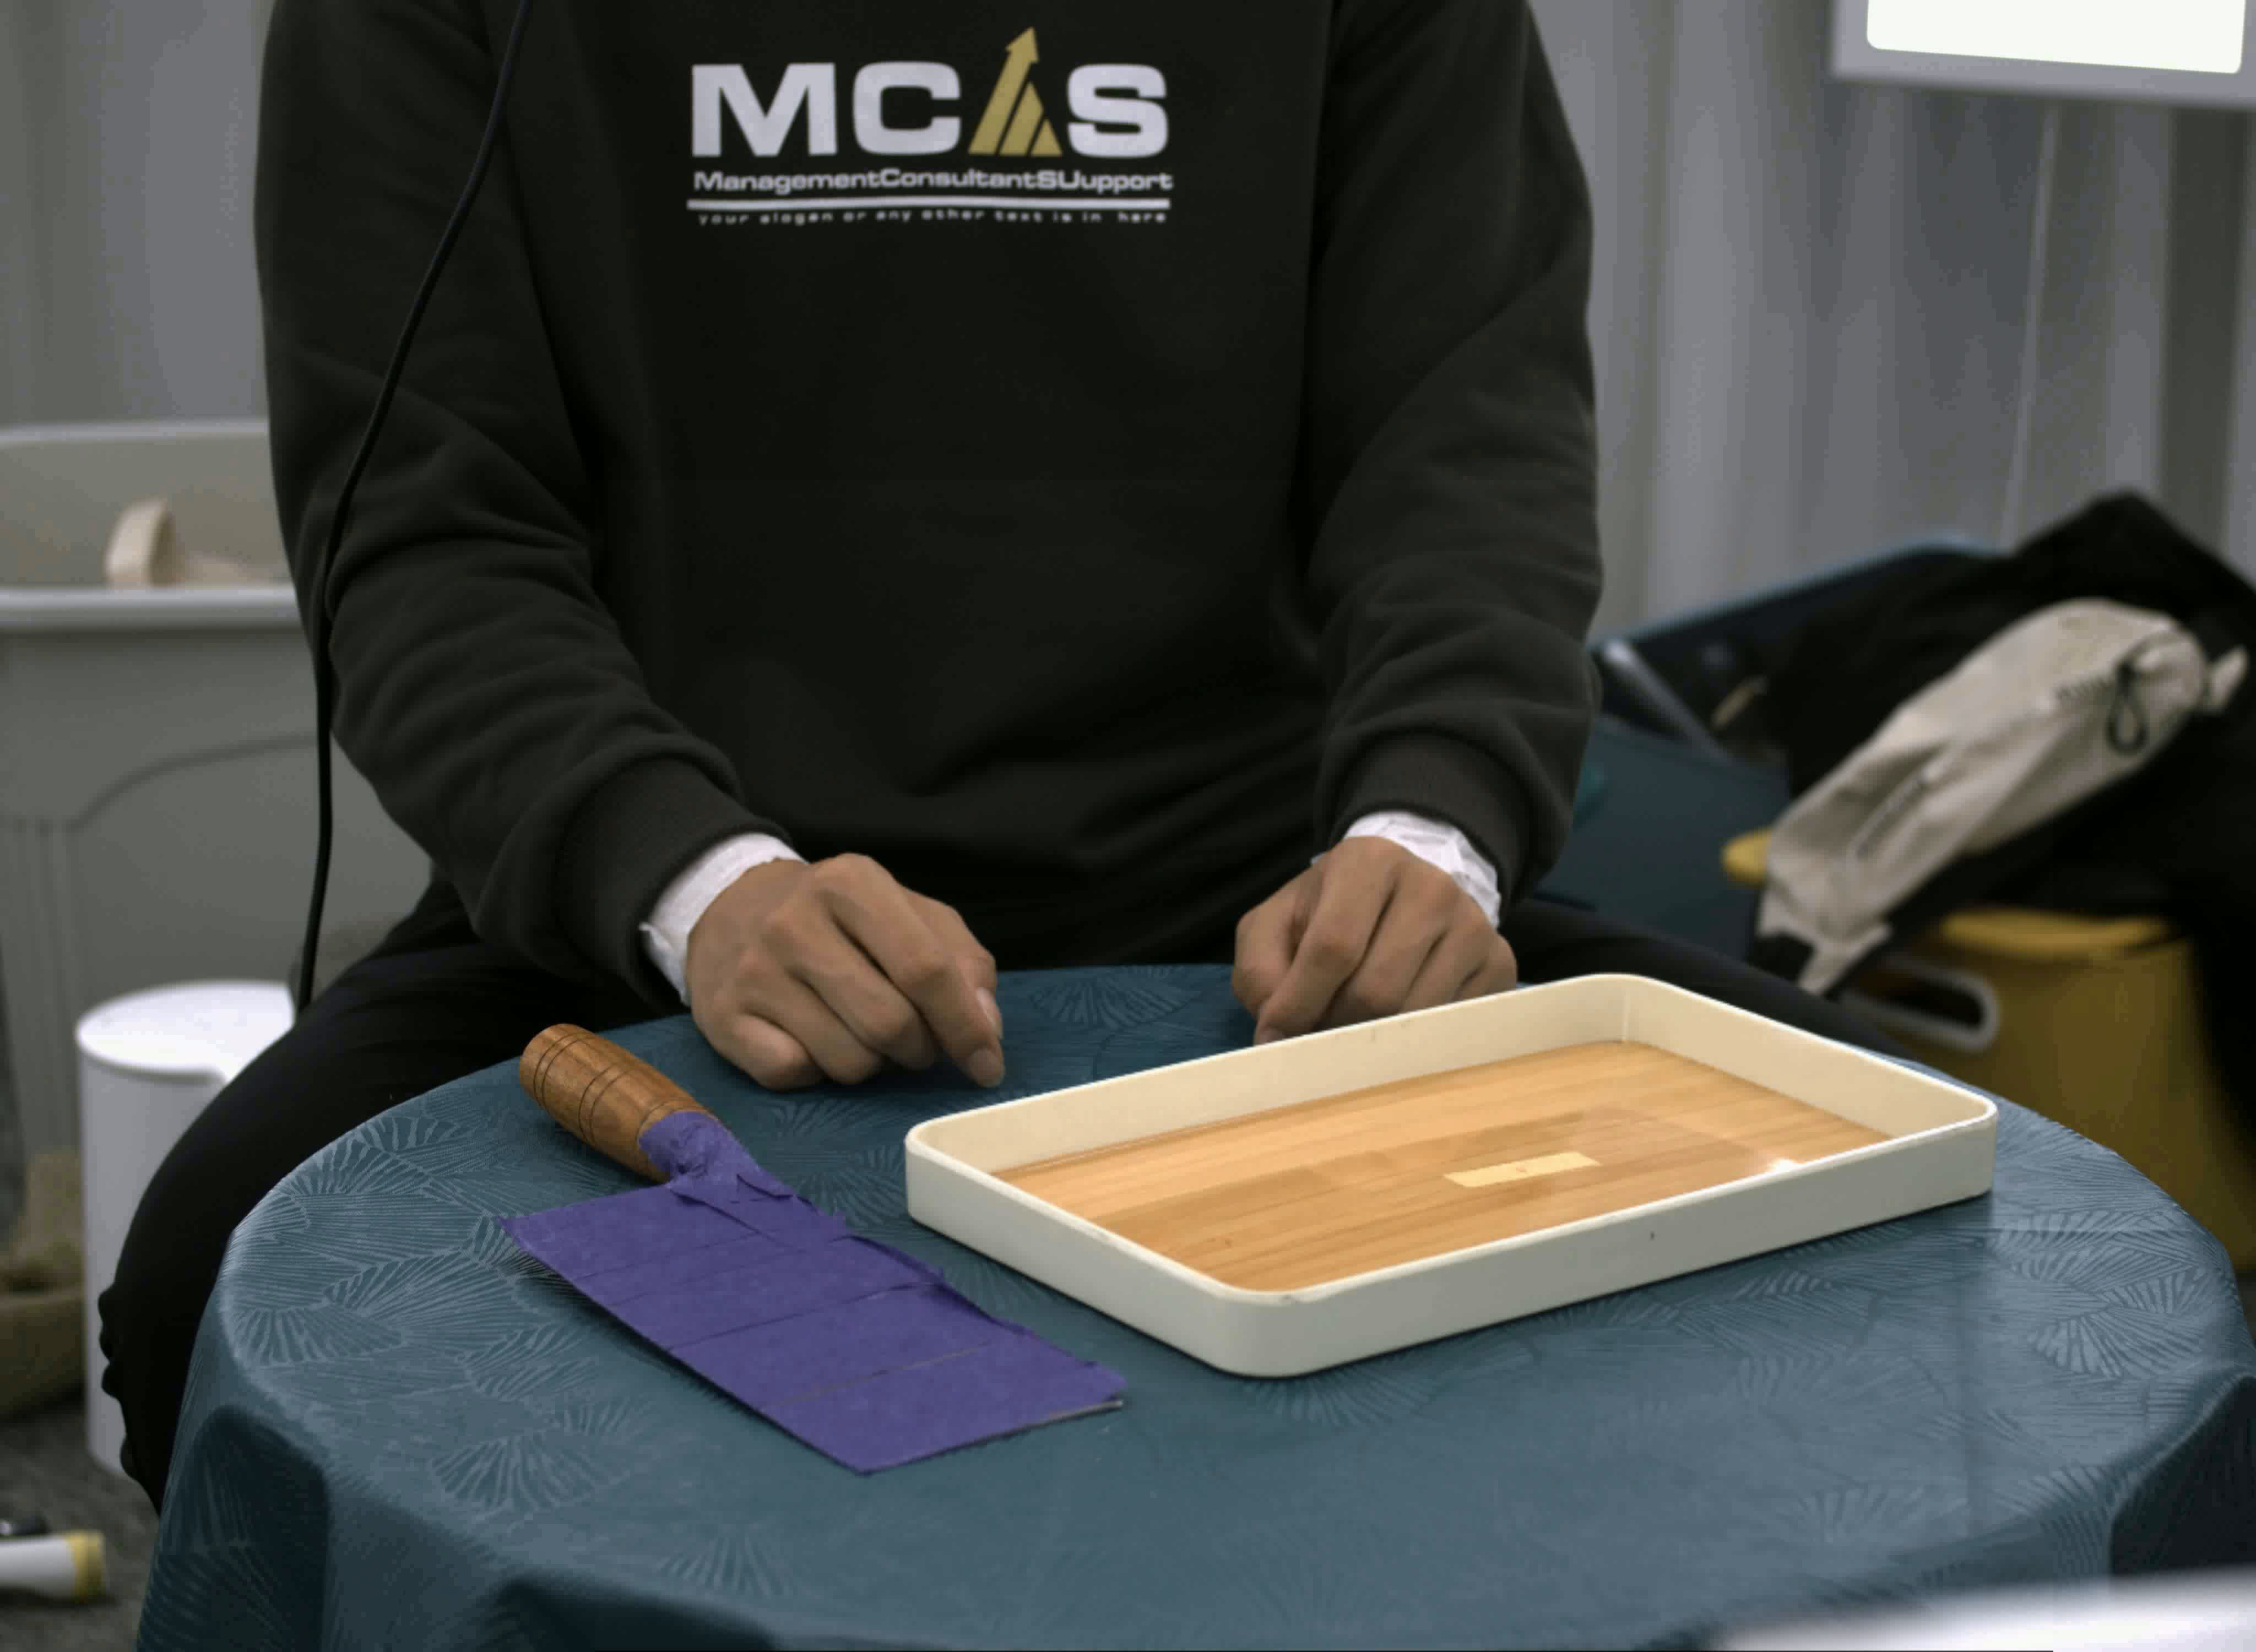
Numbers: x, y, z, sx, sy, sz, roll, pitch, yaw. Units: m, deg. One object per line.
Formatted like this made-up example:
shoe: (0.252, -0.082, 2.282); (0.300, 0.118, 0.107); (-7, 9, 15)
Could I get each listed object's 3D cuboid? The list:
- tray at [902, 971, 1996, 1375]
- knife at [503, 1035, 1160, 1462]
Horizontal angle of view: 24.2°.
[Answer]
tray: (0.100, 0.102, 1.616); (0.302, 0.027, 0.189); (-11, 19, -35)
knife: (-0.121, 0.120, 1.542); (0.104, 0.032, 0.311); (-10, 19, -35)
